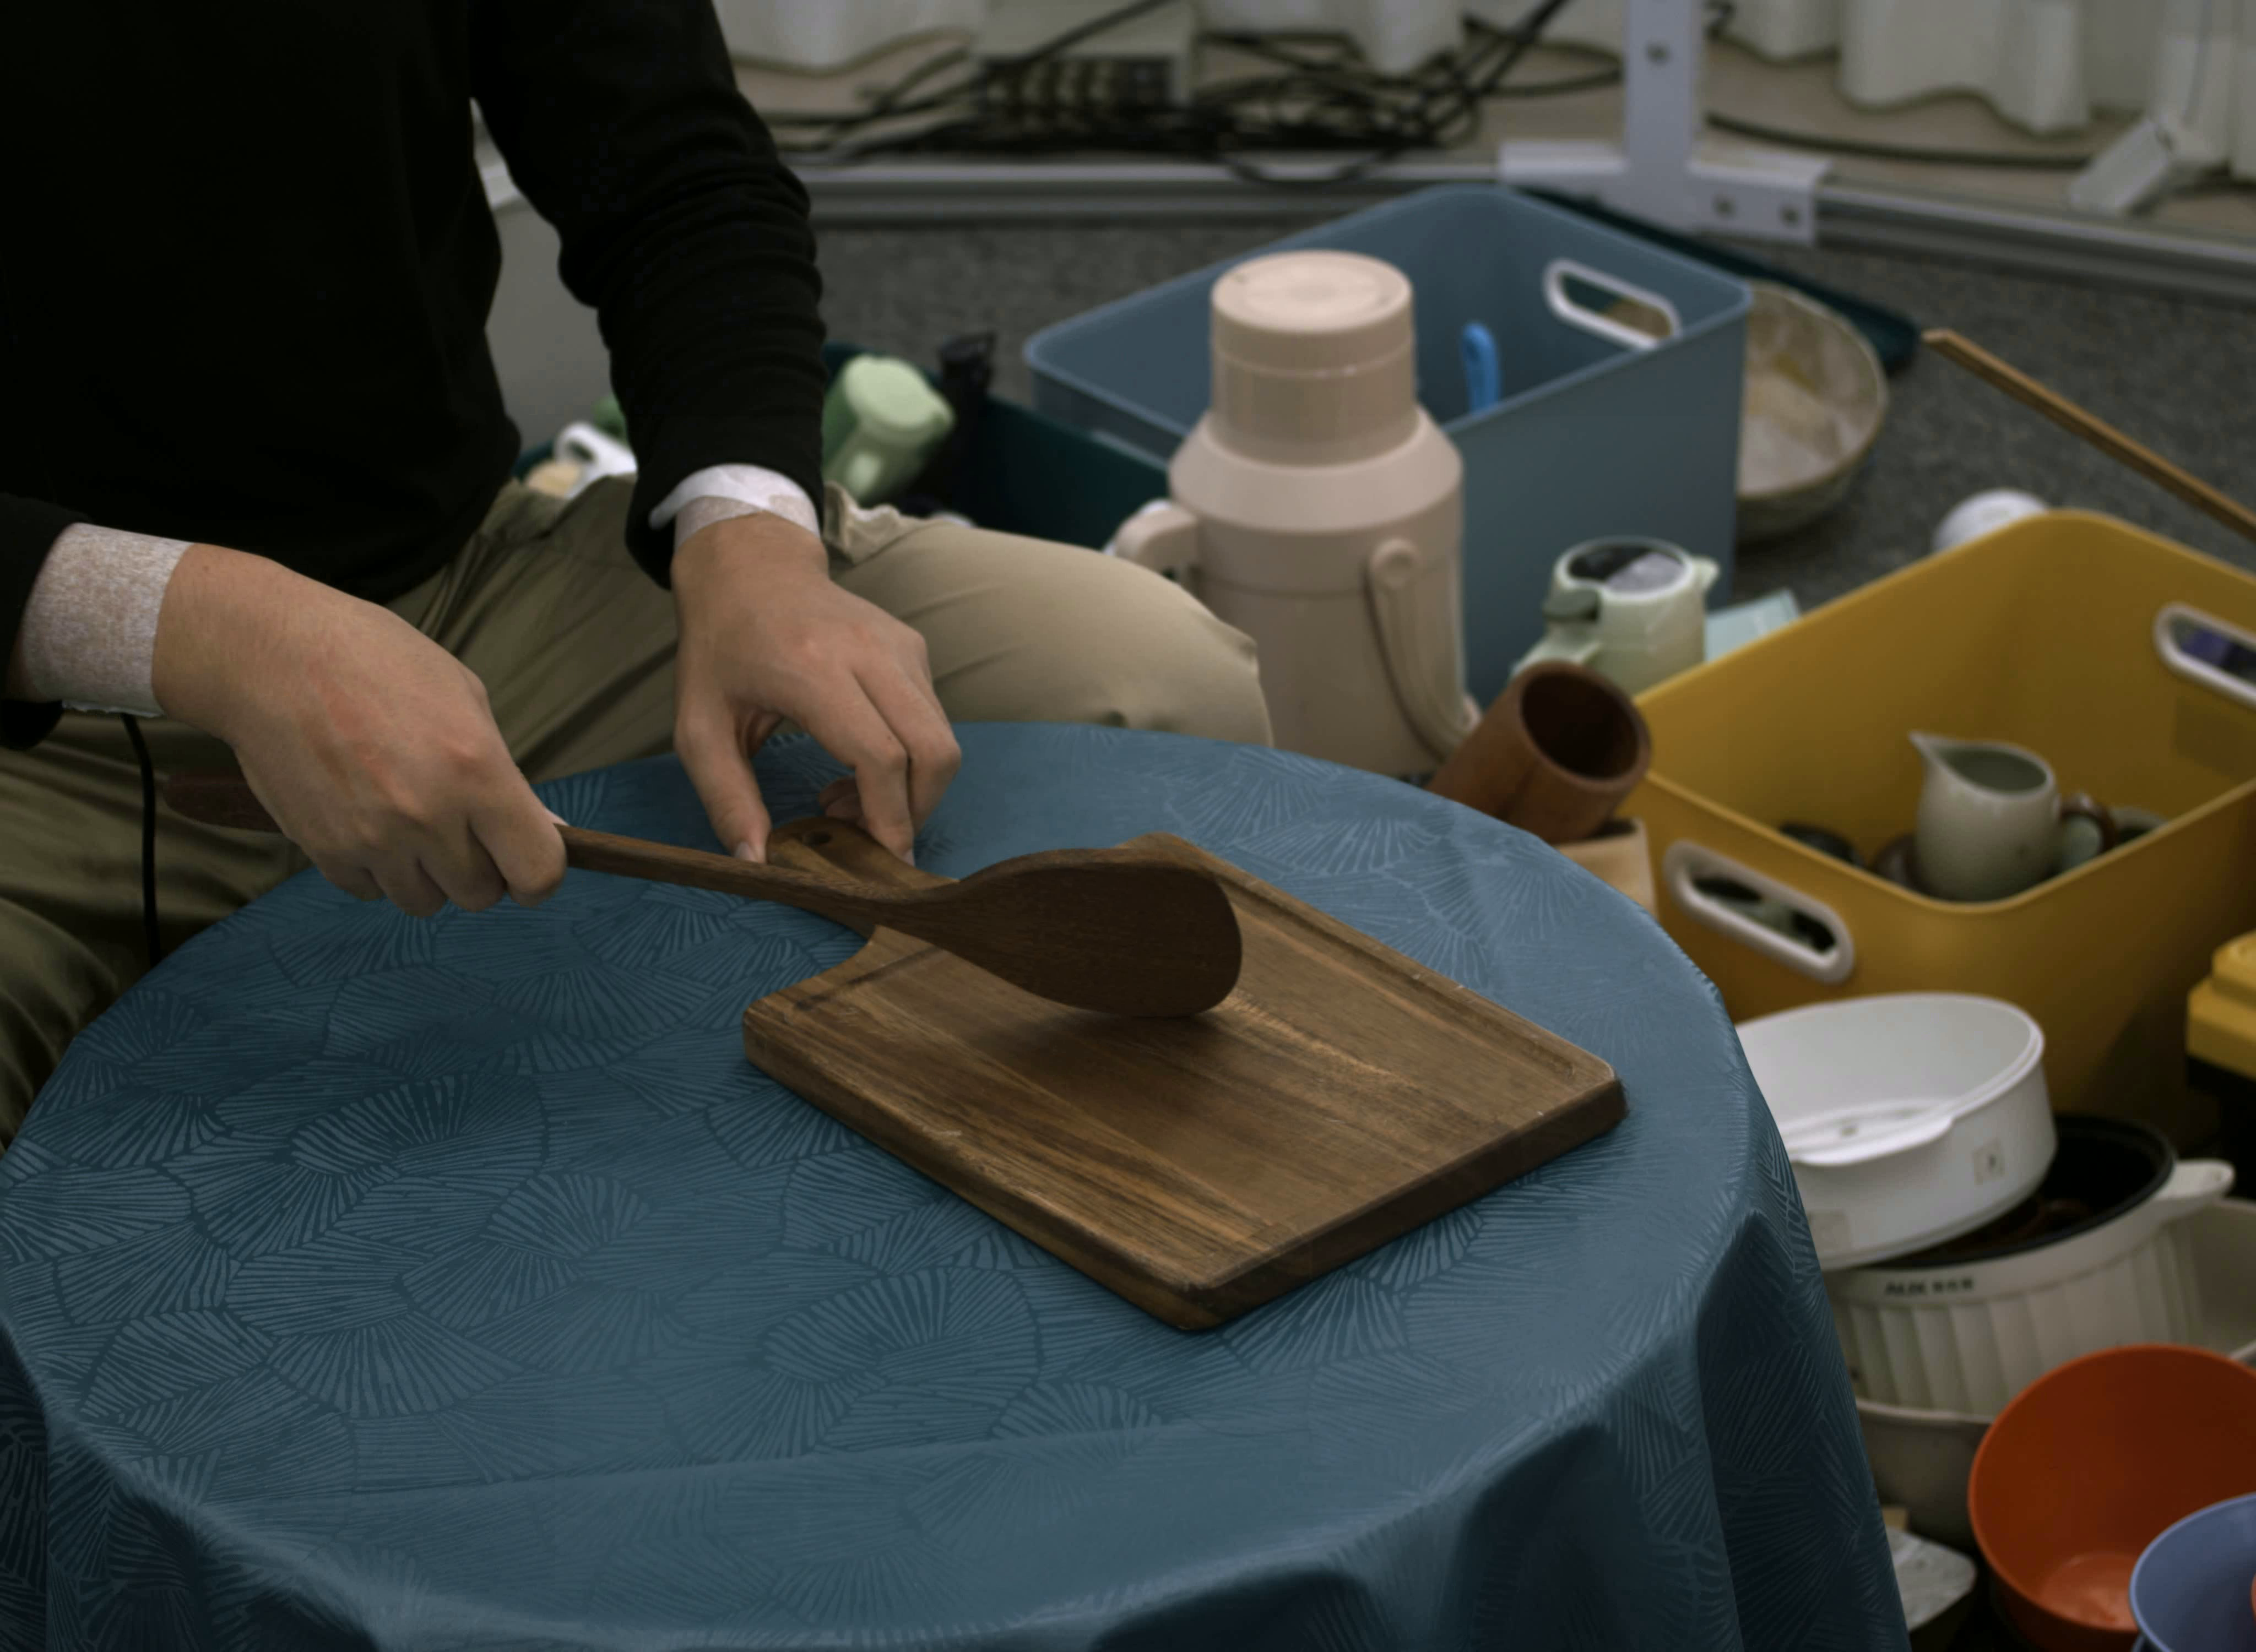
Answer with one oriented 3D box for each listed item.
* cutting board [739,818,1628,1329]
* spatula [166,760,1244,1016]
[{"bbox_3d":[-0.015,0.065,1.950,0.203,0.023,0.352,-23,33,-34],"label":"cutting board"},{"bbox_3d":[-0.148,0.014,1.928,0.384,0.094,0.016,9,54,11],"label":"spatula"}]
